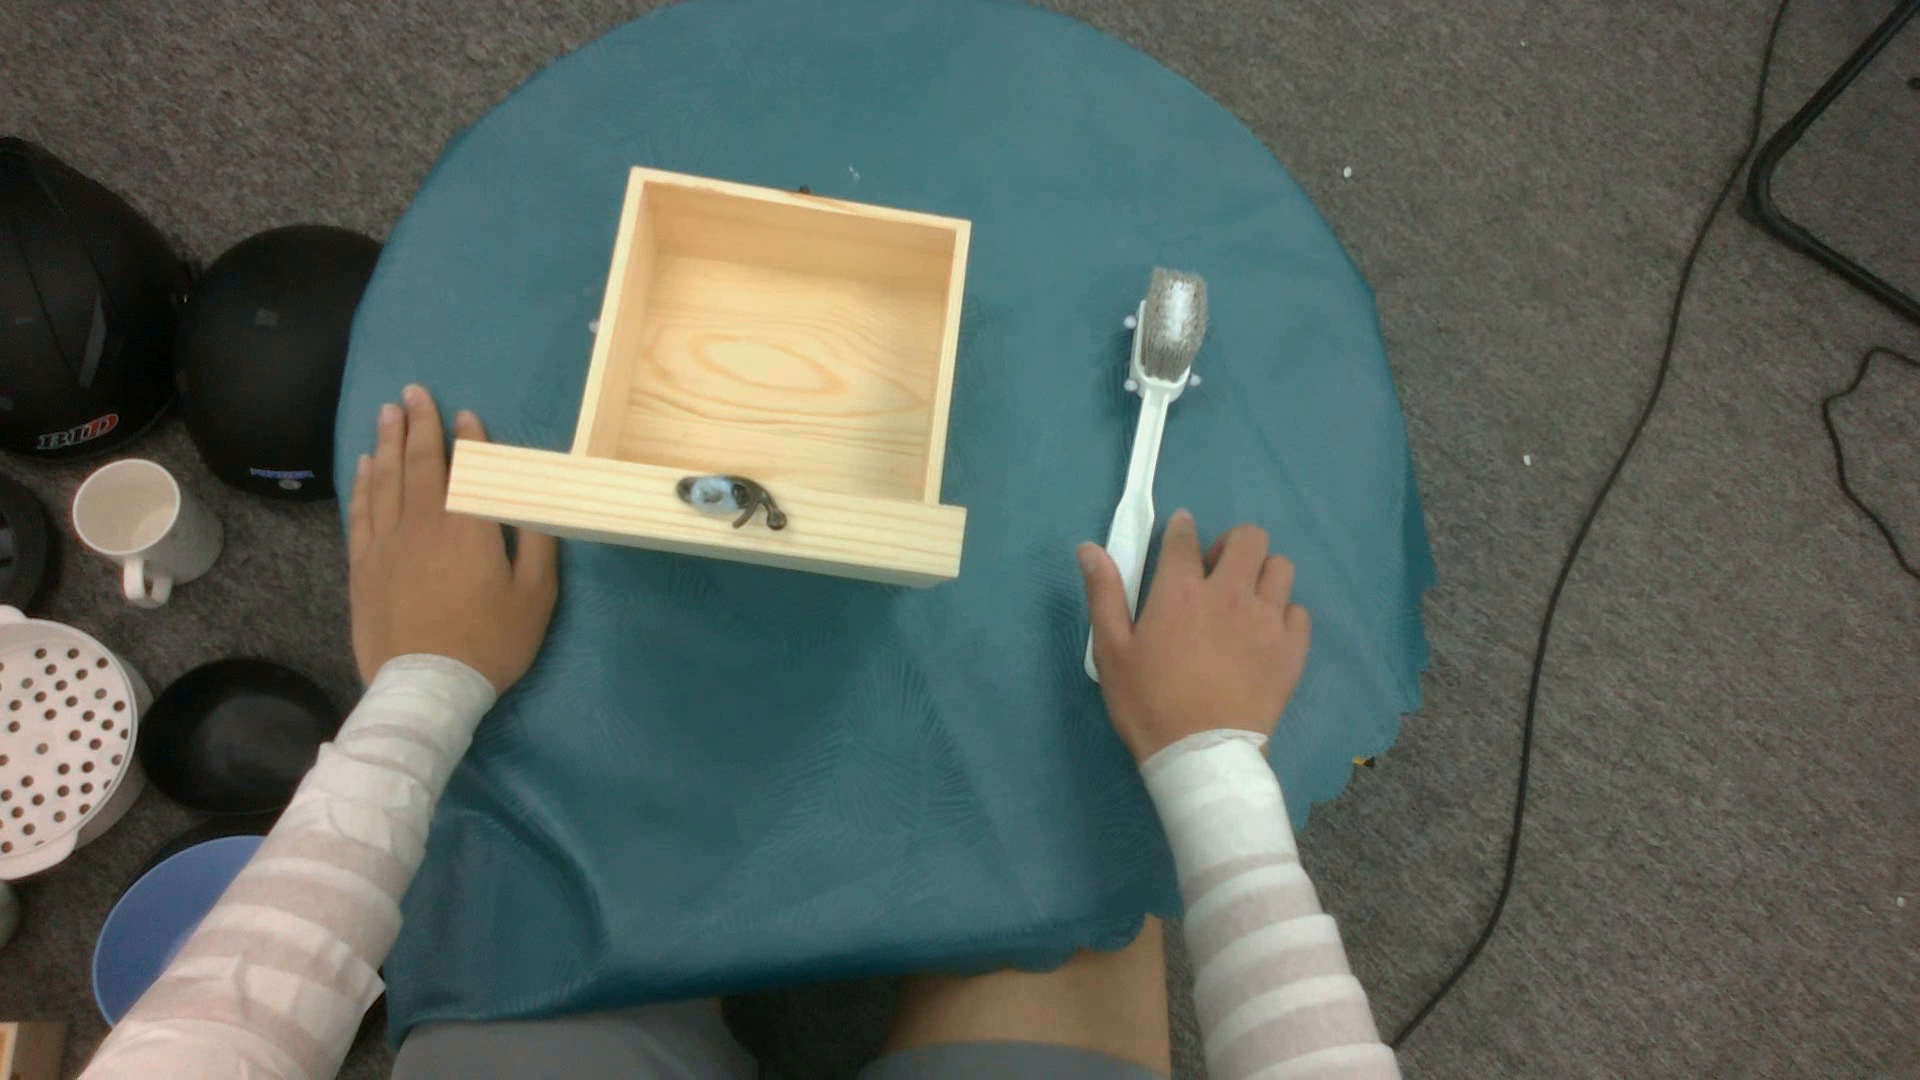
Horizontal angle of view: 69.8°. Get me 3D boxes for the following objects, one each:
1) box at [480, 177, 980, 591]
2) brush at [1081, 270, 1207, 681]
[{"bbox_3d":[-0.088,-0.082,0.657,0.182,0.252,0.266,7,71,-5],"label":"box"},{"bbox_3d":[0.103,-0.042,0.770,0.034,0.050,0.244,14,70,-2],"label":"brush"}]
